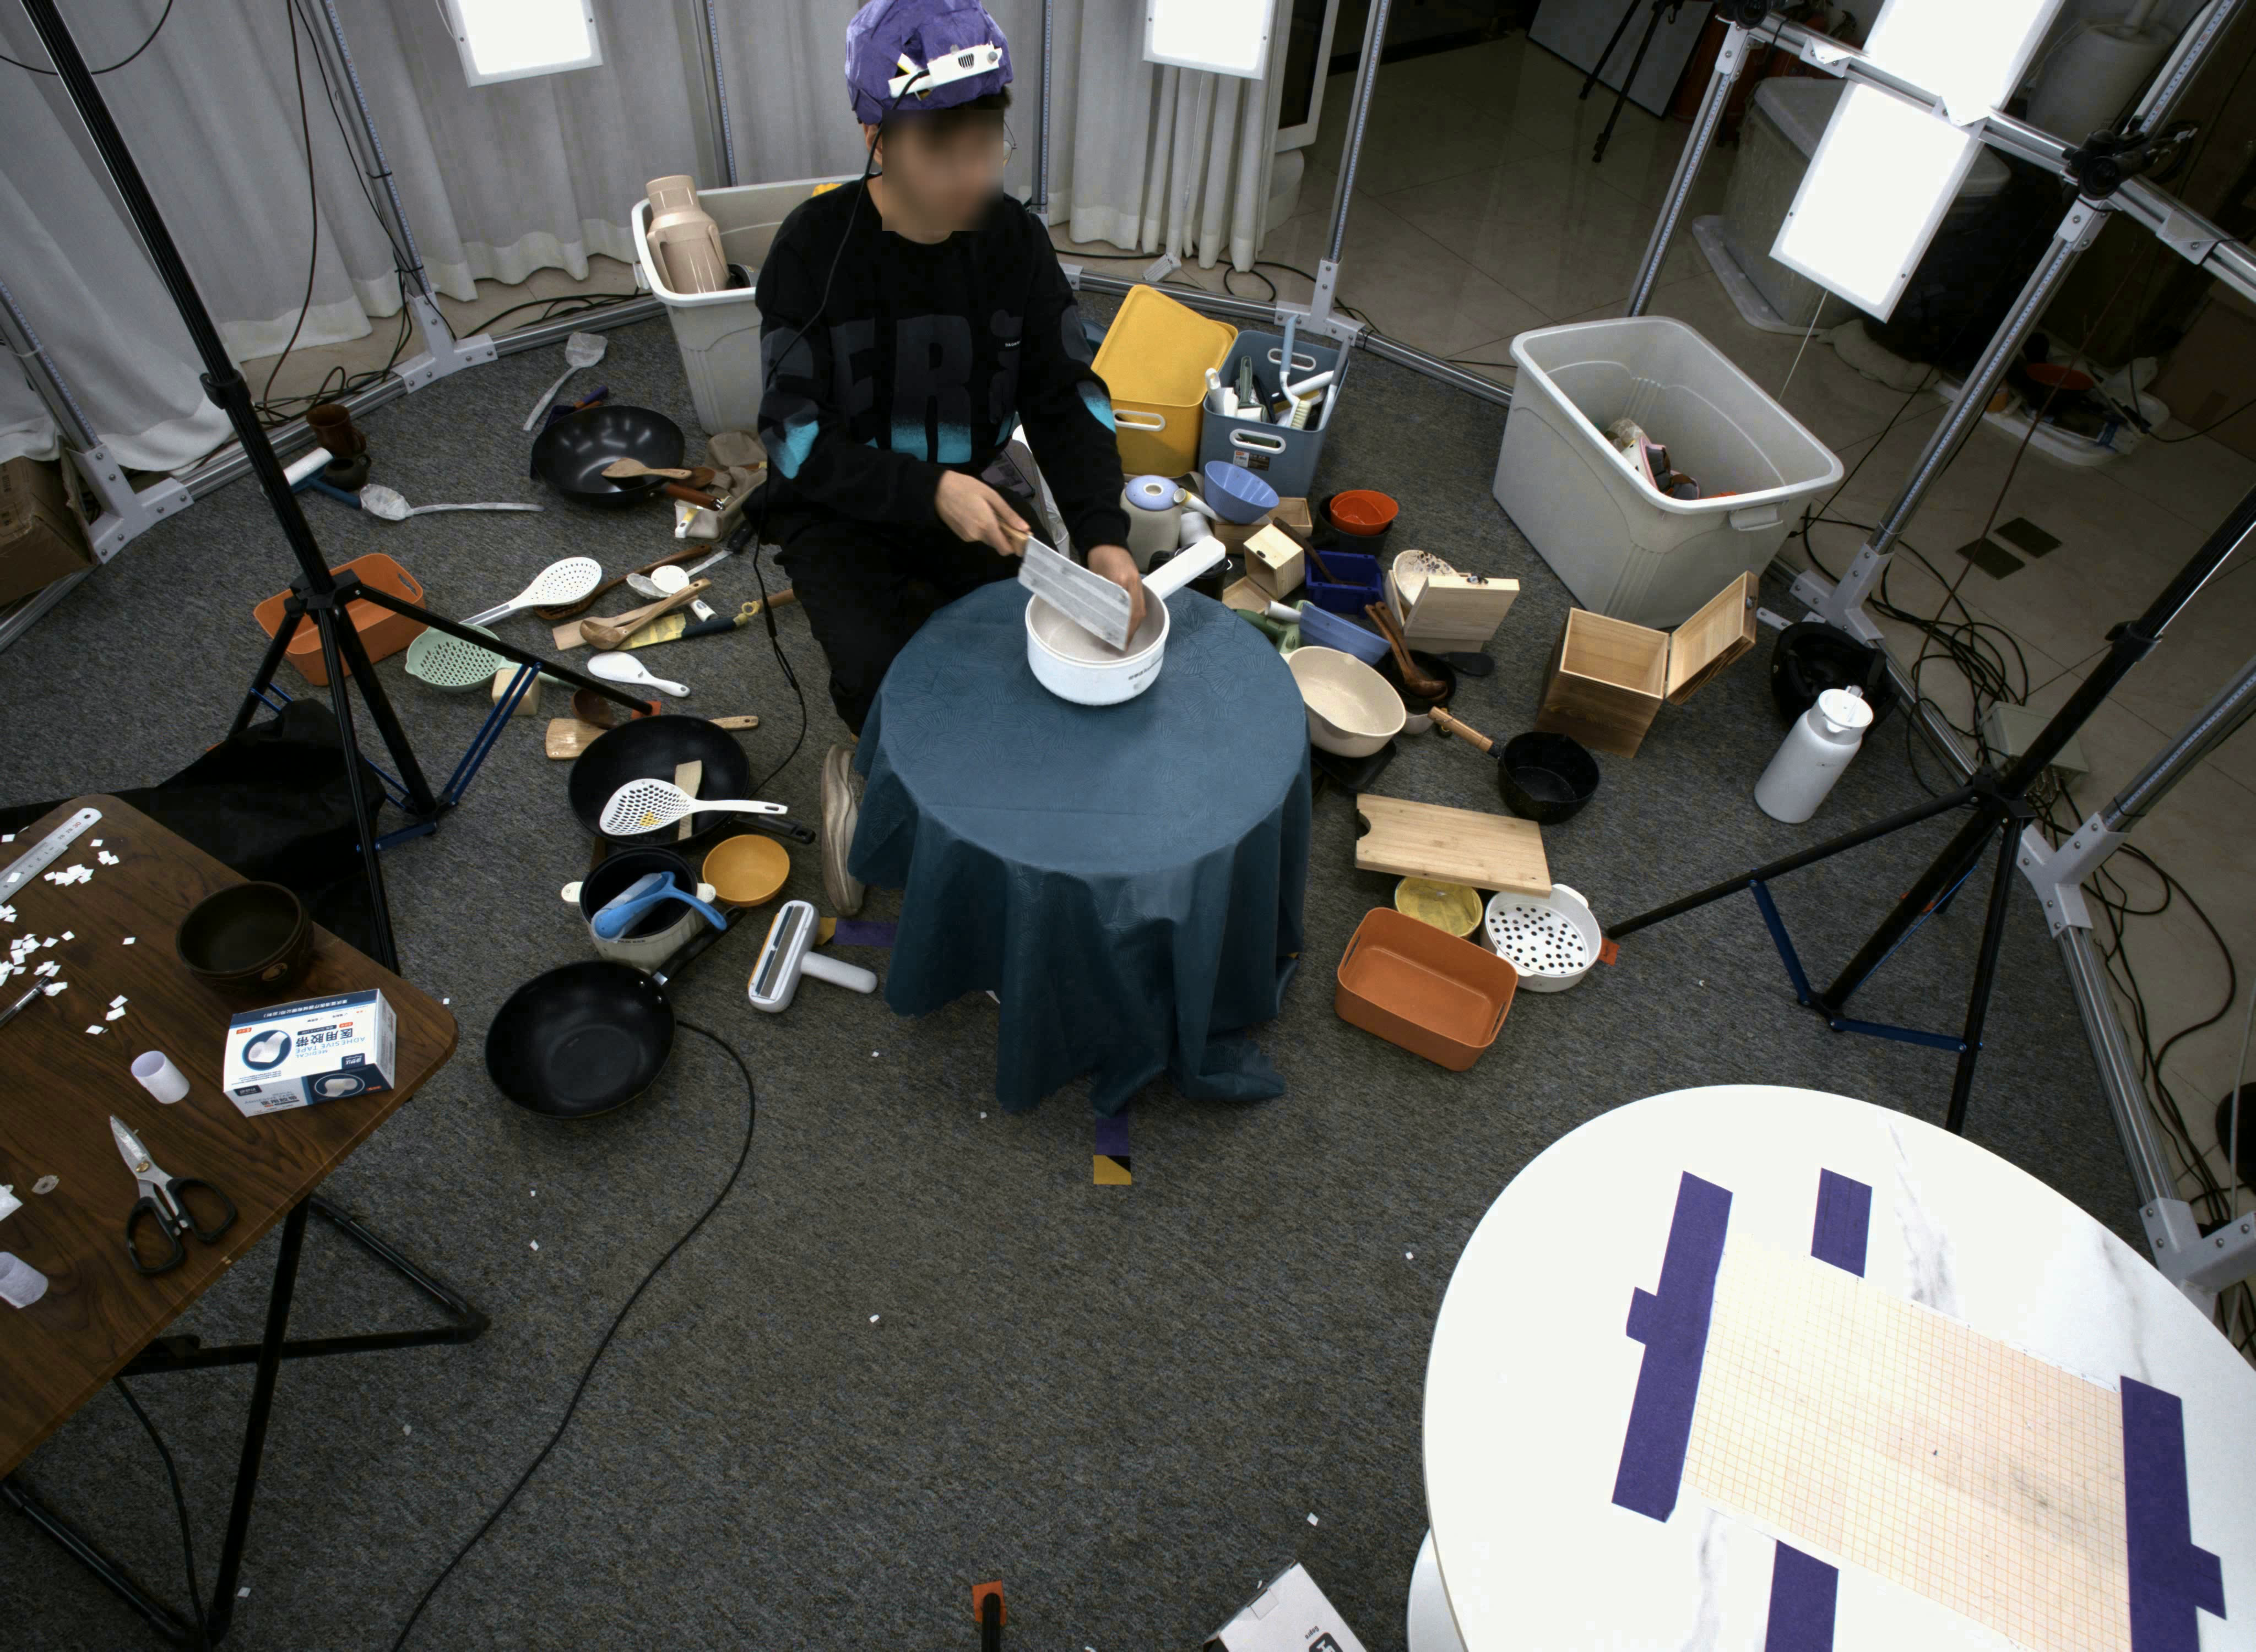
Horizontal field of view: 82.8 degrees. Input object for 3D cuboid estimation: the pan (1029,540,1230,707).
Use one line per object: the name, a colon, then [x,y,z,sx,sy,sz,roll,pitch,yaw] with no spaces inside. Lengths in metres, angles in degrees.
pan: [0.013,-0.301,1.870,0.204,0.099,0.358,36,55,27]

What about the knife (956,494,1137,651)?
knife: [-0.109,-0.354,1.747,0.318,0.111,0.022,38,52,12]
